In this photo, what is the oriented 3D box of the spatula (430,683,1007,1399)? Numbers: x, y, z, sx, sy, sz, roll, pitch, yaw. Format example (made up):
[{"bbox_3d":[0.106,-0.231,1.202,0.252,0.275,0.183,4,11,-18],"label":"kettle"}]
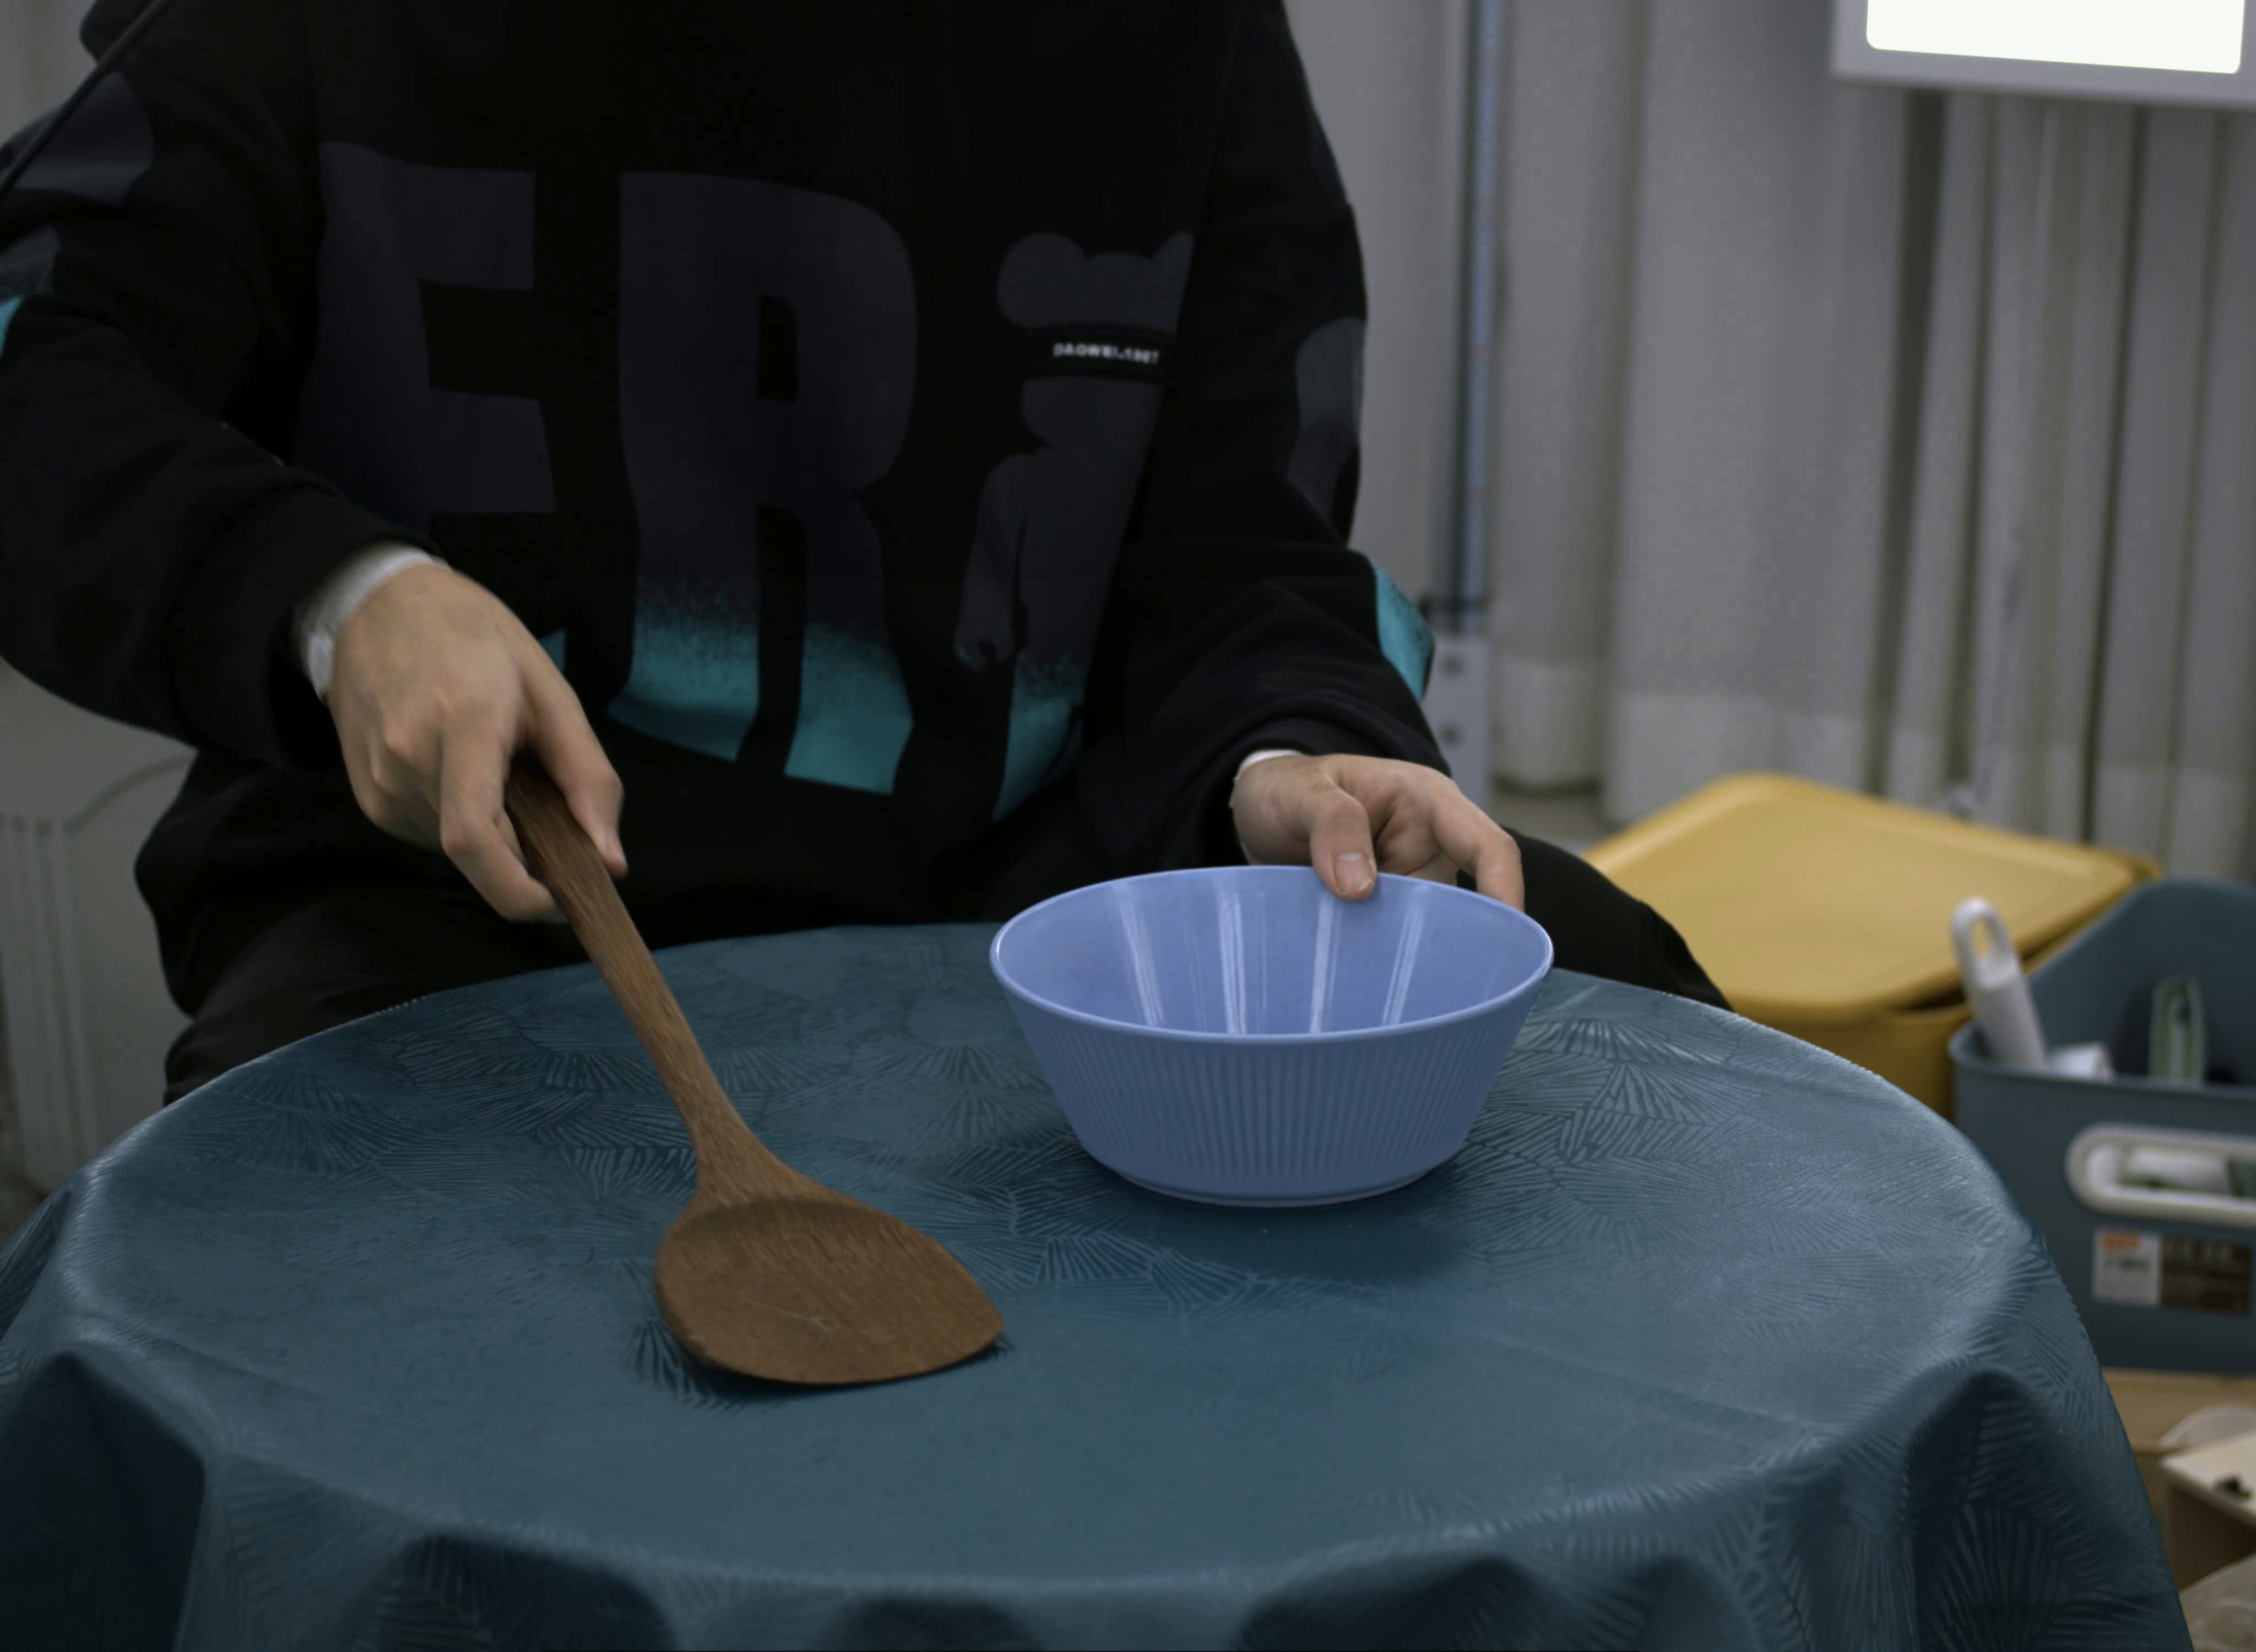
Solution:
[{"bbox_3d":[-0.146,0.055,1.606,0.096,0.016,0.381,-4,35,-26],"label":"spatula"}]

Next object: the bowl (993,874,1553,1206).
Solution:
[{"bbox_3d":[0.046,0.069,1.650,0.175,0.071,0.175,0,15,1],"label":"bowl"}]
